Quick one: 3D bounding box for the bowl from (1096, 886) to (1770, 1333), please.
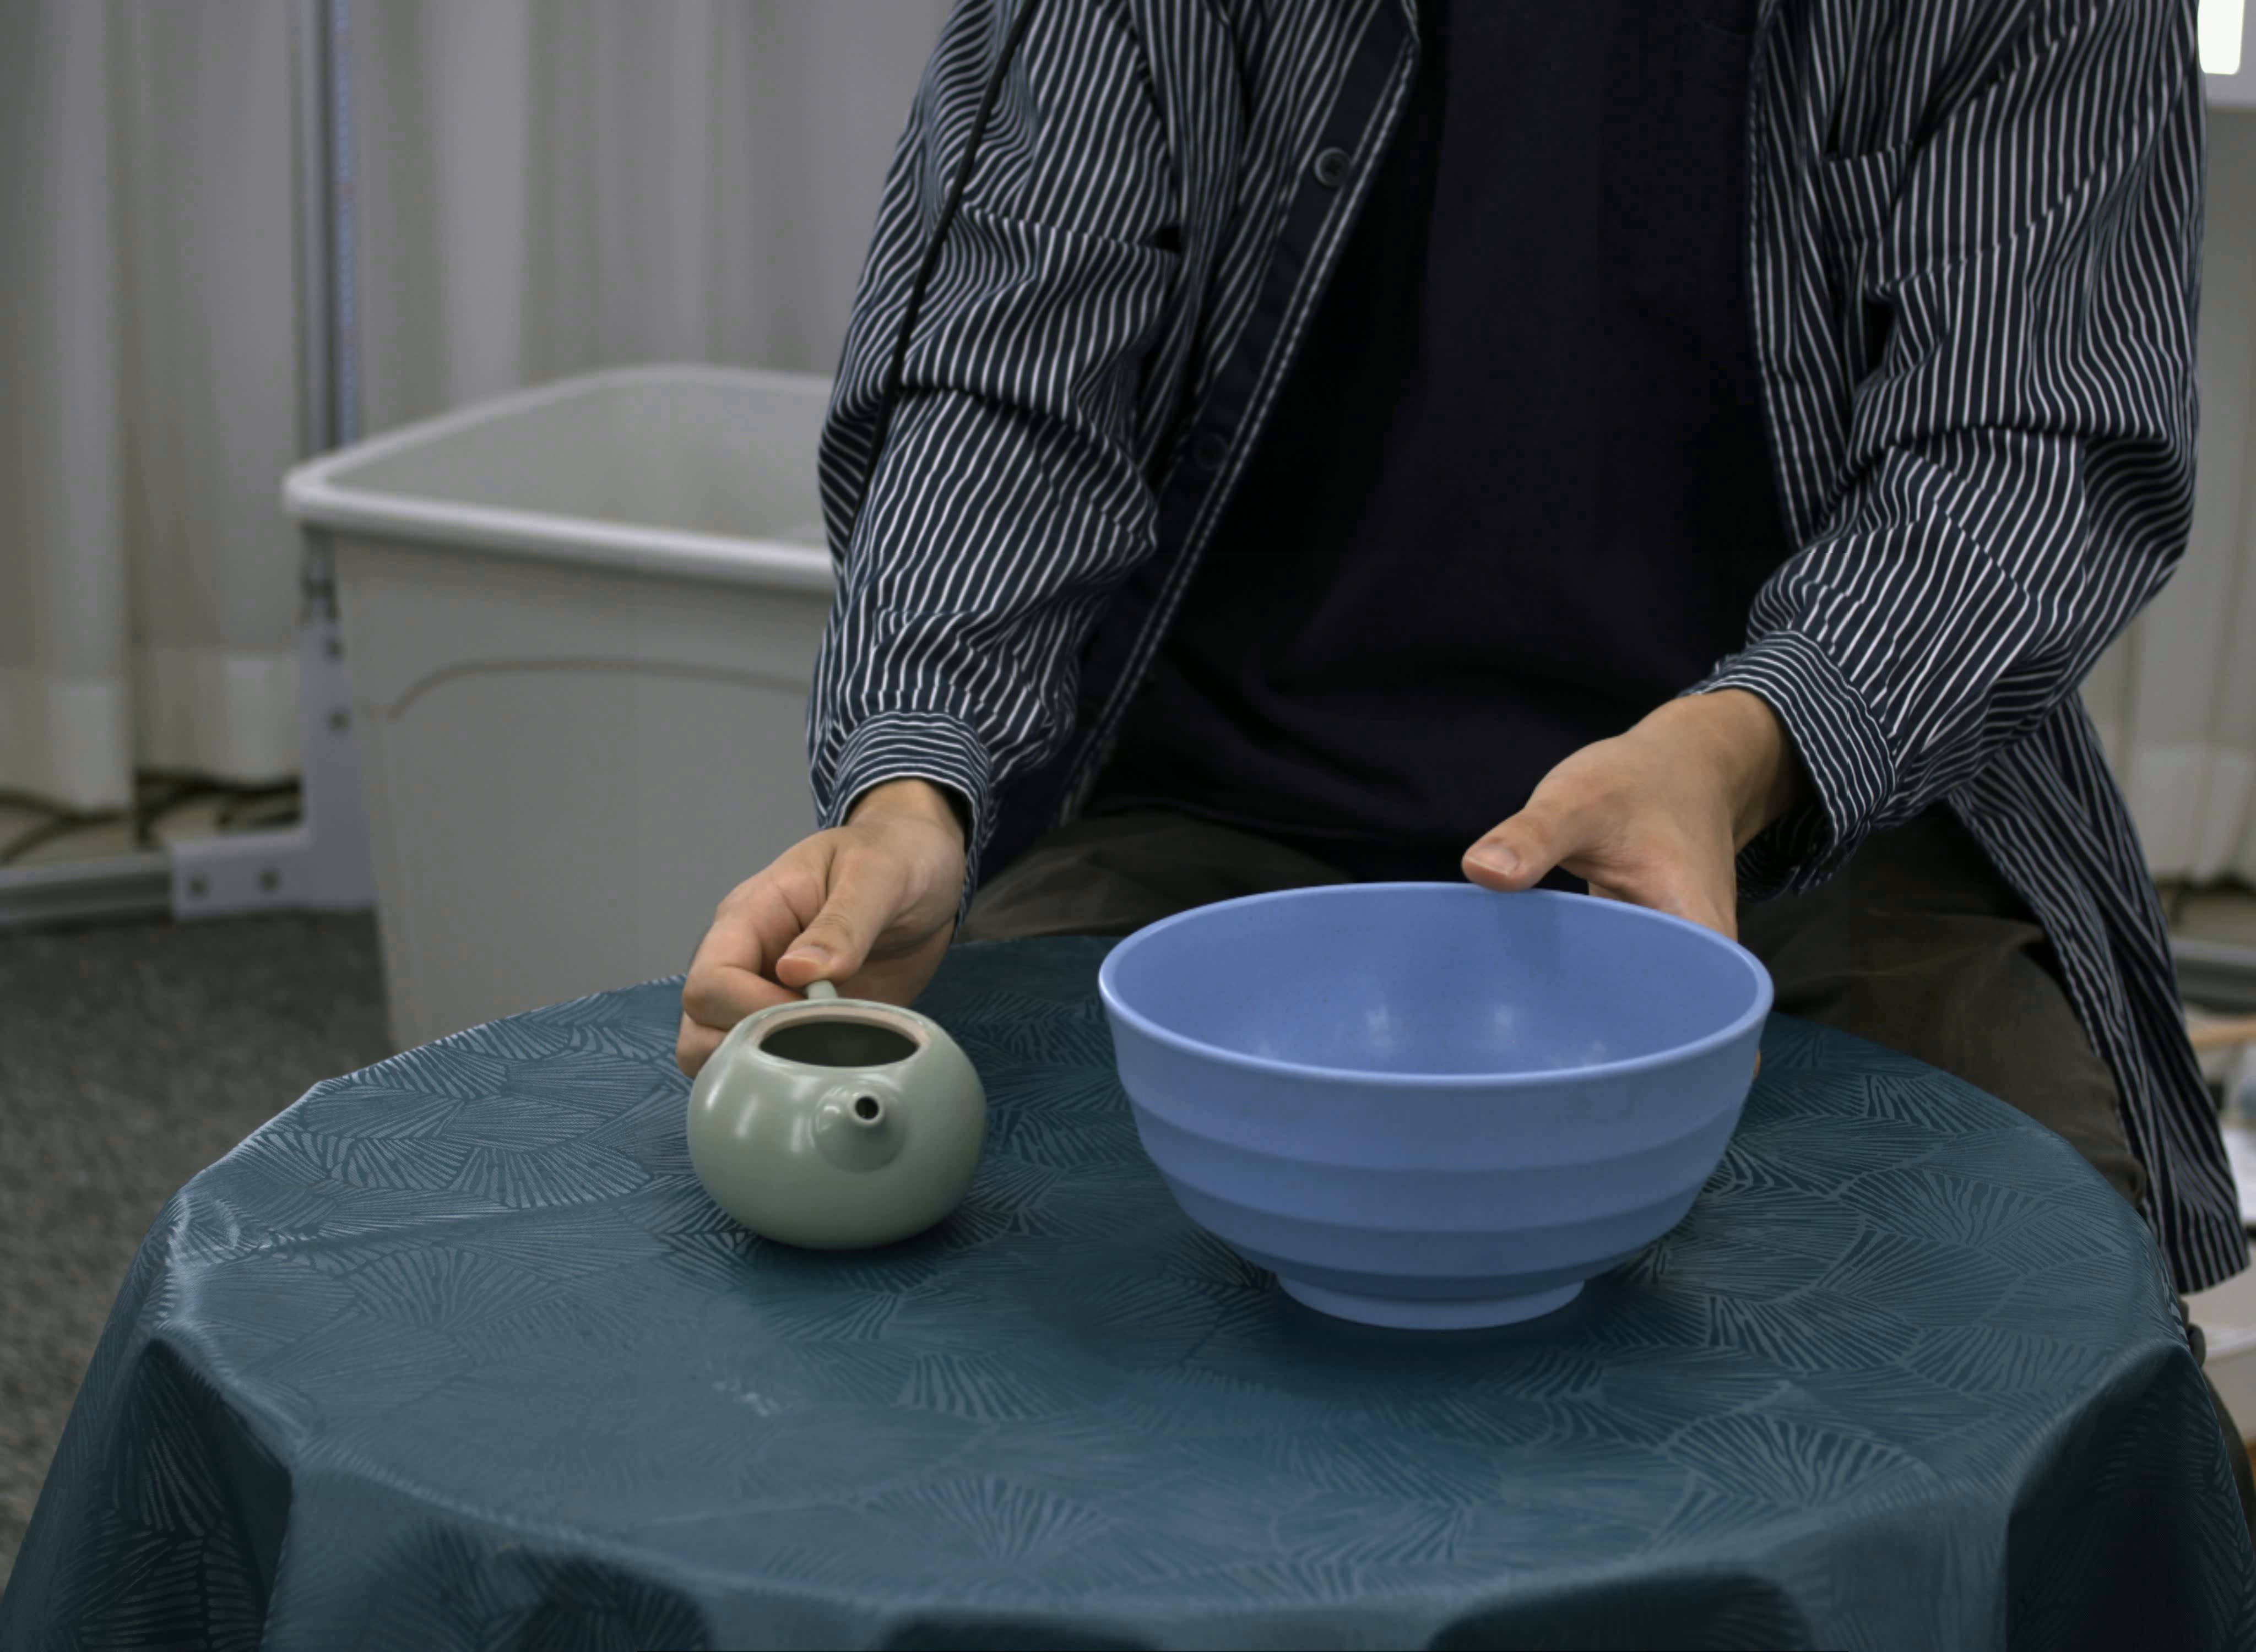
[{"bbox_3d":[0.089,0.088,1.544,0.196,0.096,0.195,0,15,1],"label":"bowl"}]

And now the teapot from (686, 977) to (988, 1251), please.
[{"bbox_3d":[-0.089,0.087,1.597,0.091,0.061,0.127,-2,19,-7],"label":"teapot"}]
